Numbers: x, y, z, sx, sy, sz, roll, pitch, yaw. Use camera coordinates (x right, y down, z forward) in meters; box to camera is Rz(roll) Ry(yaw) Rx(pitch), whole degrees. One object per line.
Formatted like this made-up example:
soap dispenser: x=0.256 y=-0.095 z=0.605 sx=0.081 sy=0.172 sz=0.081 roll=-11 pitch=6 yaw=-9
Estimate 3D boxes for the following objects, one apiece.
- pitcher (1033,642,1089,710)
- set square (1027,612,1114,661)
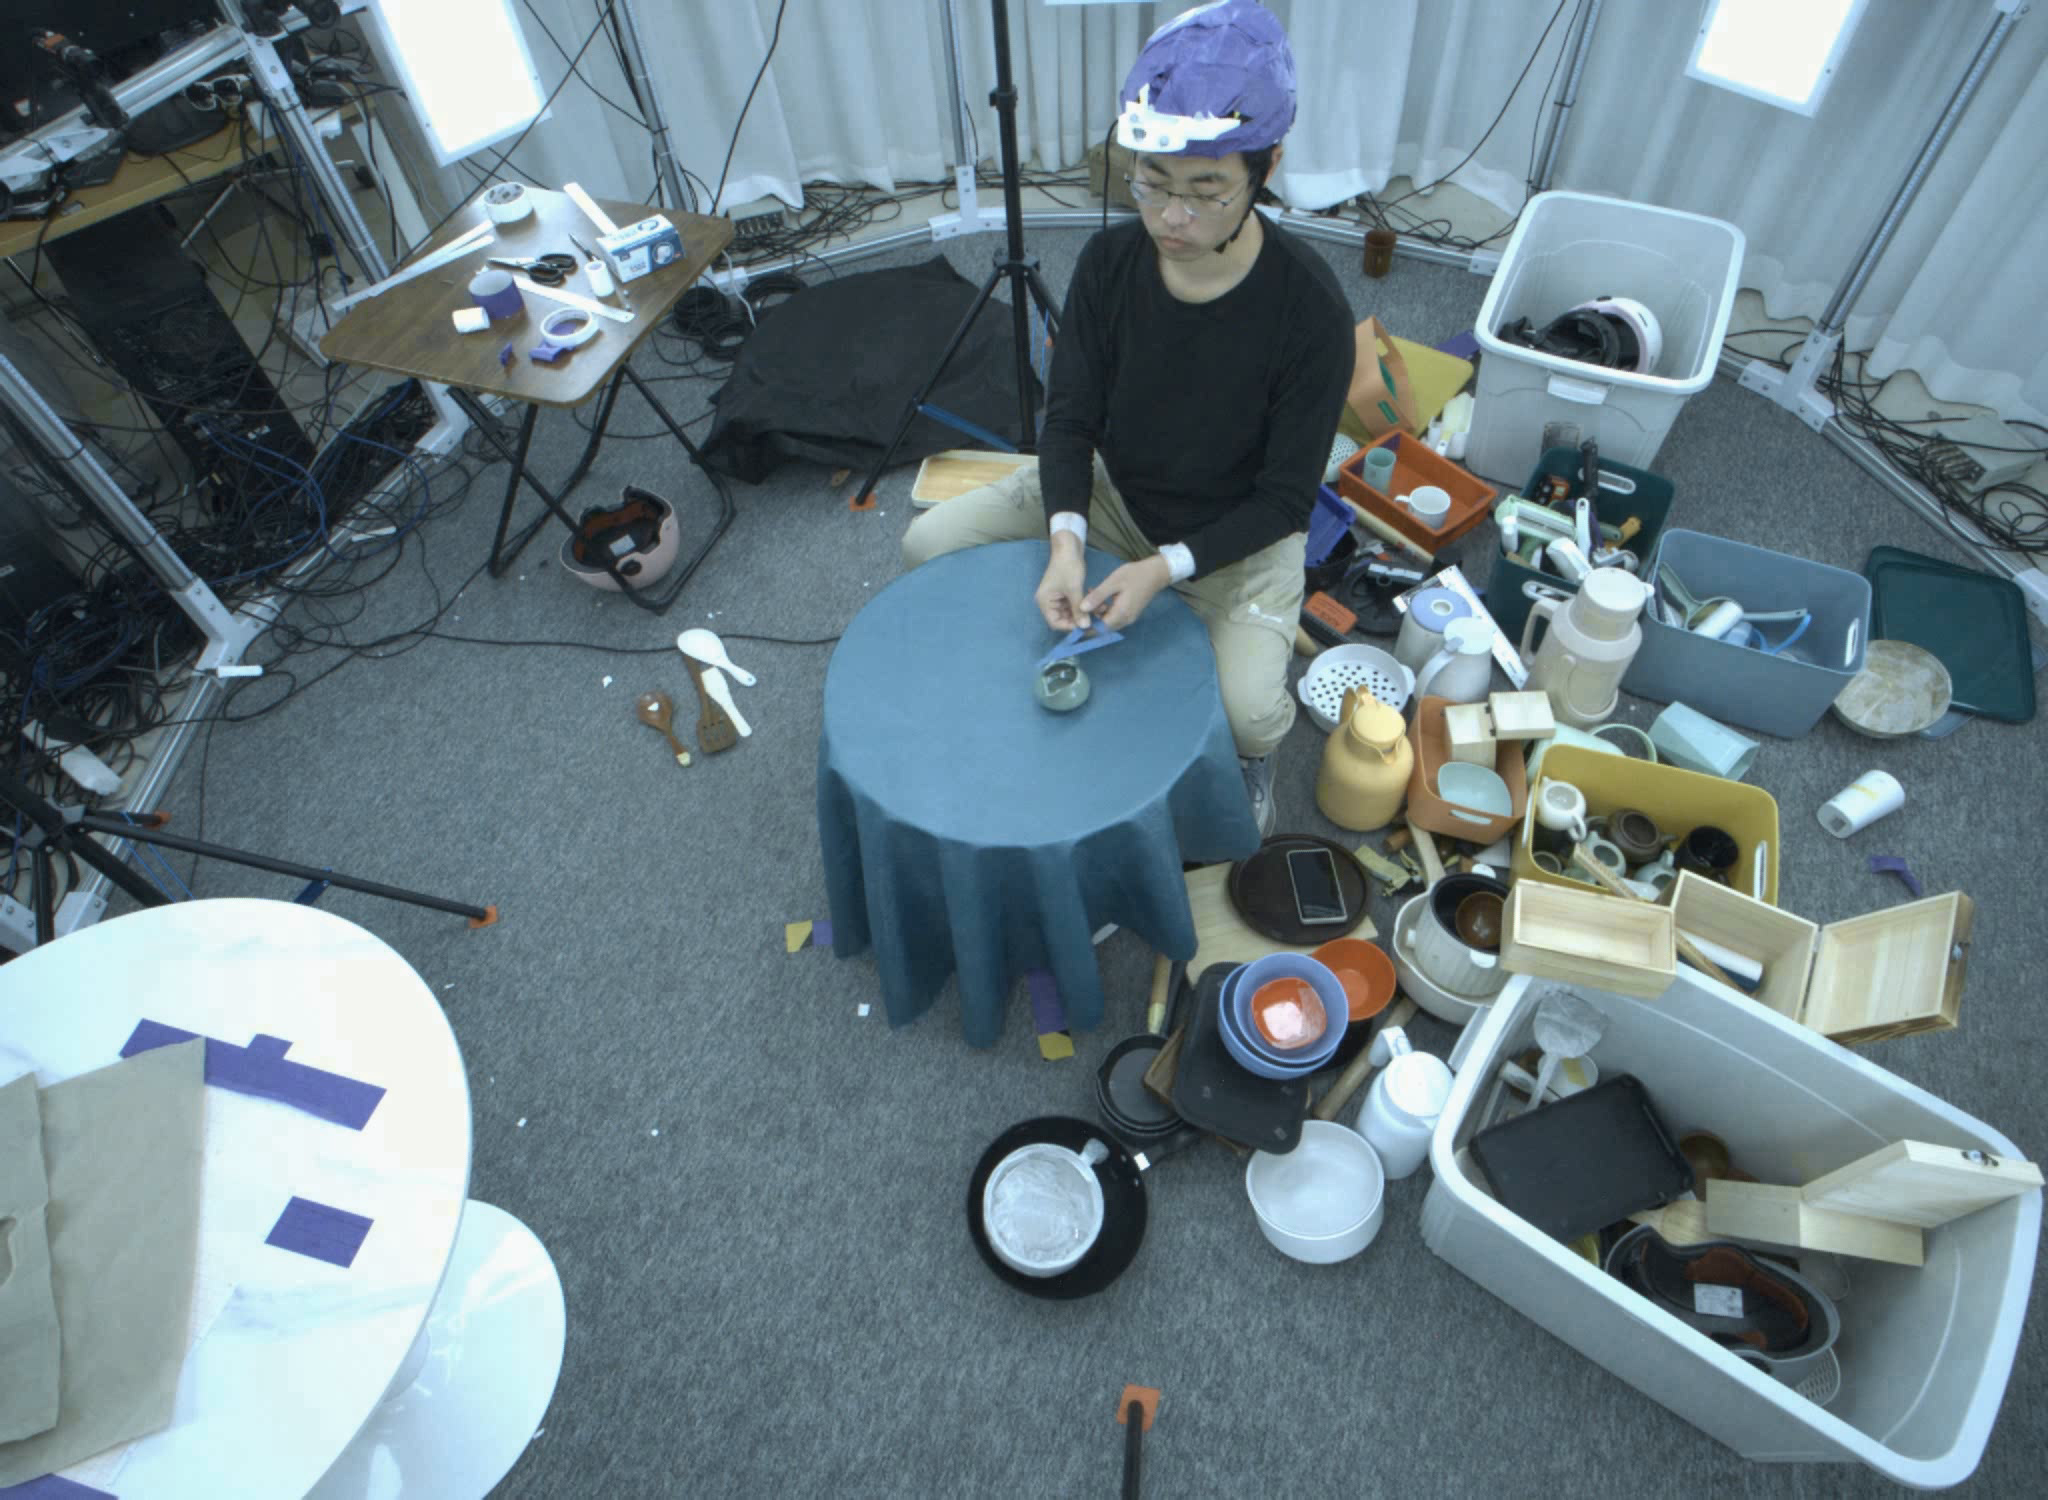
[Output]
pitcher: x=0.057 y=-0.107 z=1.826 sx=0.083 sy=0.057 sz=0.112 roll=16 pitch=58 yaw=11
set square: x=0.065 y=-0.173 z=1.834 sx=0.131 sy=0.006 sz=0.060 roll=-14 pitch=64 yaw=5
